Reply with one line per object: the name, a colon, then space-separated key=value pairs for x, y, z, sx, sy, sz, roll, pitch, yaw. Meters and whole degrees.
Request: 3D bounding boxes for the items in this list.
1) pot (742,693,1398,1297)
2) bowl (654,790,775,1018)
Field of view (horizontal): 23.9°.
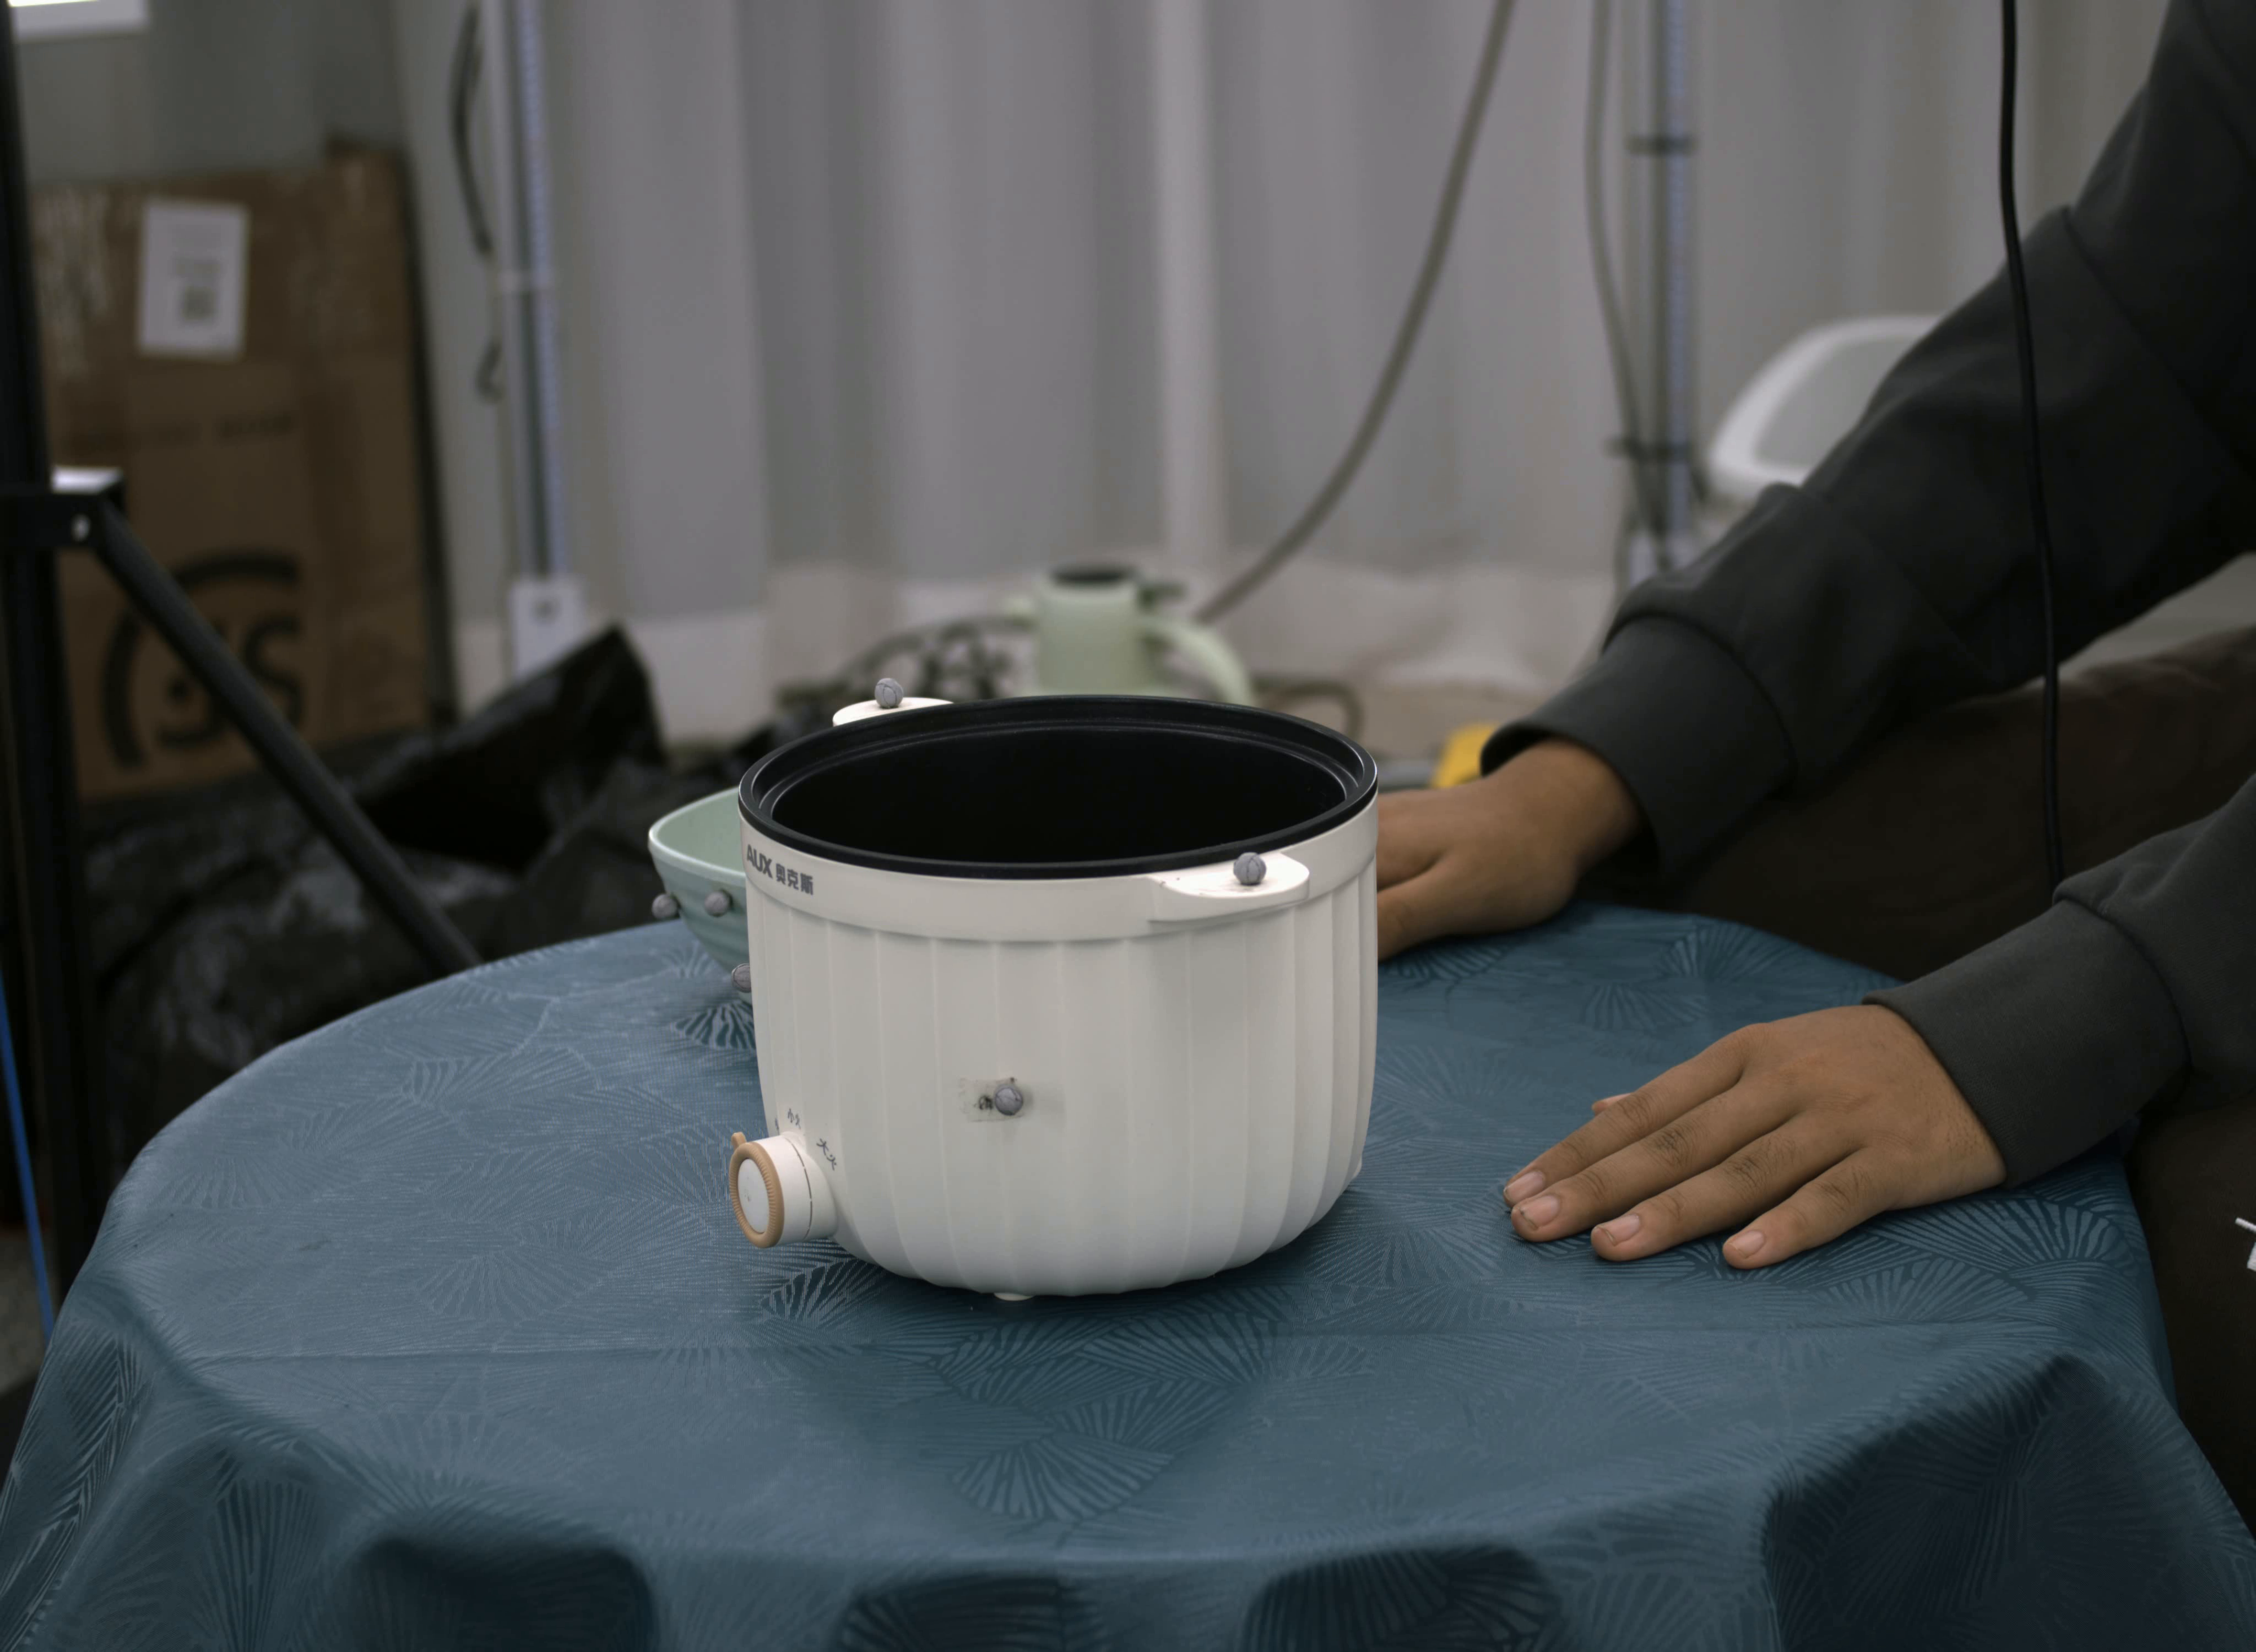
pot: x=-0.019 y=0.050 z=1.509 sx=0.186 sy=0.143 sz=0.245 roll=-7 pitch=14 yaw=-29
bowl: x=-0.078 y=0.028 z=1.749 sx=0.151 sy=0.058 sz=0.152 roll=-4 pitch=17 yaw=0
